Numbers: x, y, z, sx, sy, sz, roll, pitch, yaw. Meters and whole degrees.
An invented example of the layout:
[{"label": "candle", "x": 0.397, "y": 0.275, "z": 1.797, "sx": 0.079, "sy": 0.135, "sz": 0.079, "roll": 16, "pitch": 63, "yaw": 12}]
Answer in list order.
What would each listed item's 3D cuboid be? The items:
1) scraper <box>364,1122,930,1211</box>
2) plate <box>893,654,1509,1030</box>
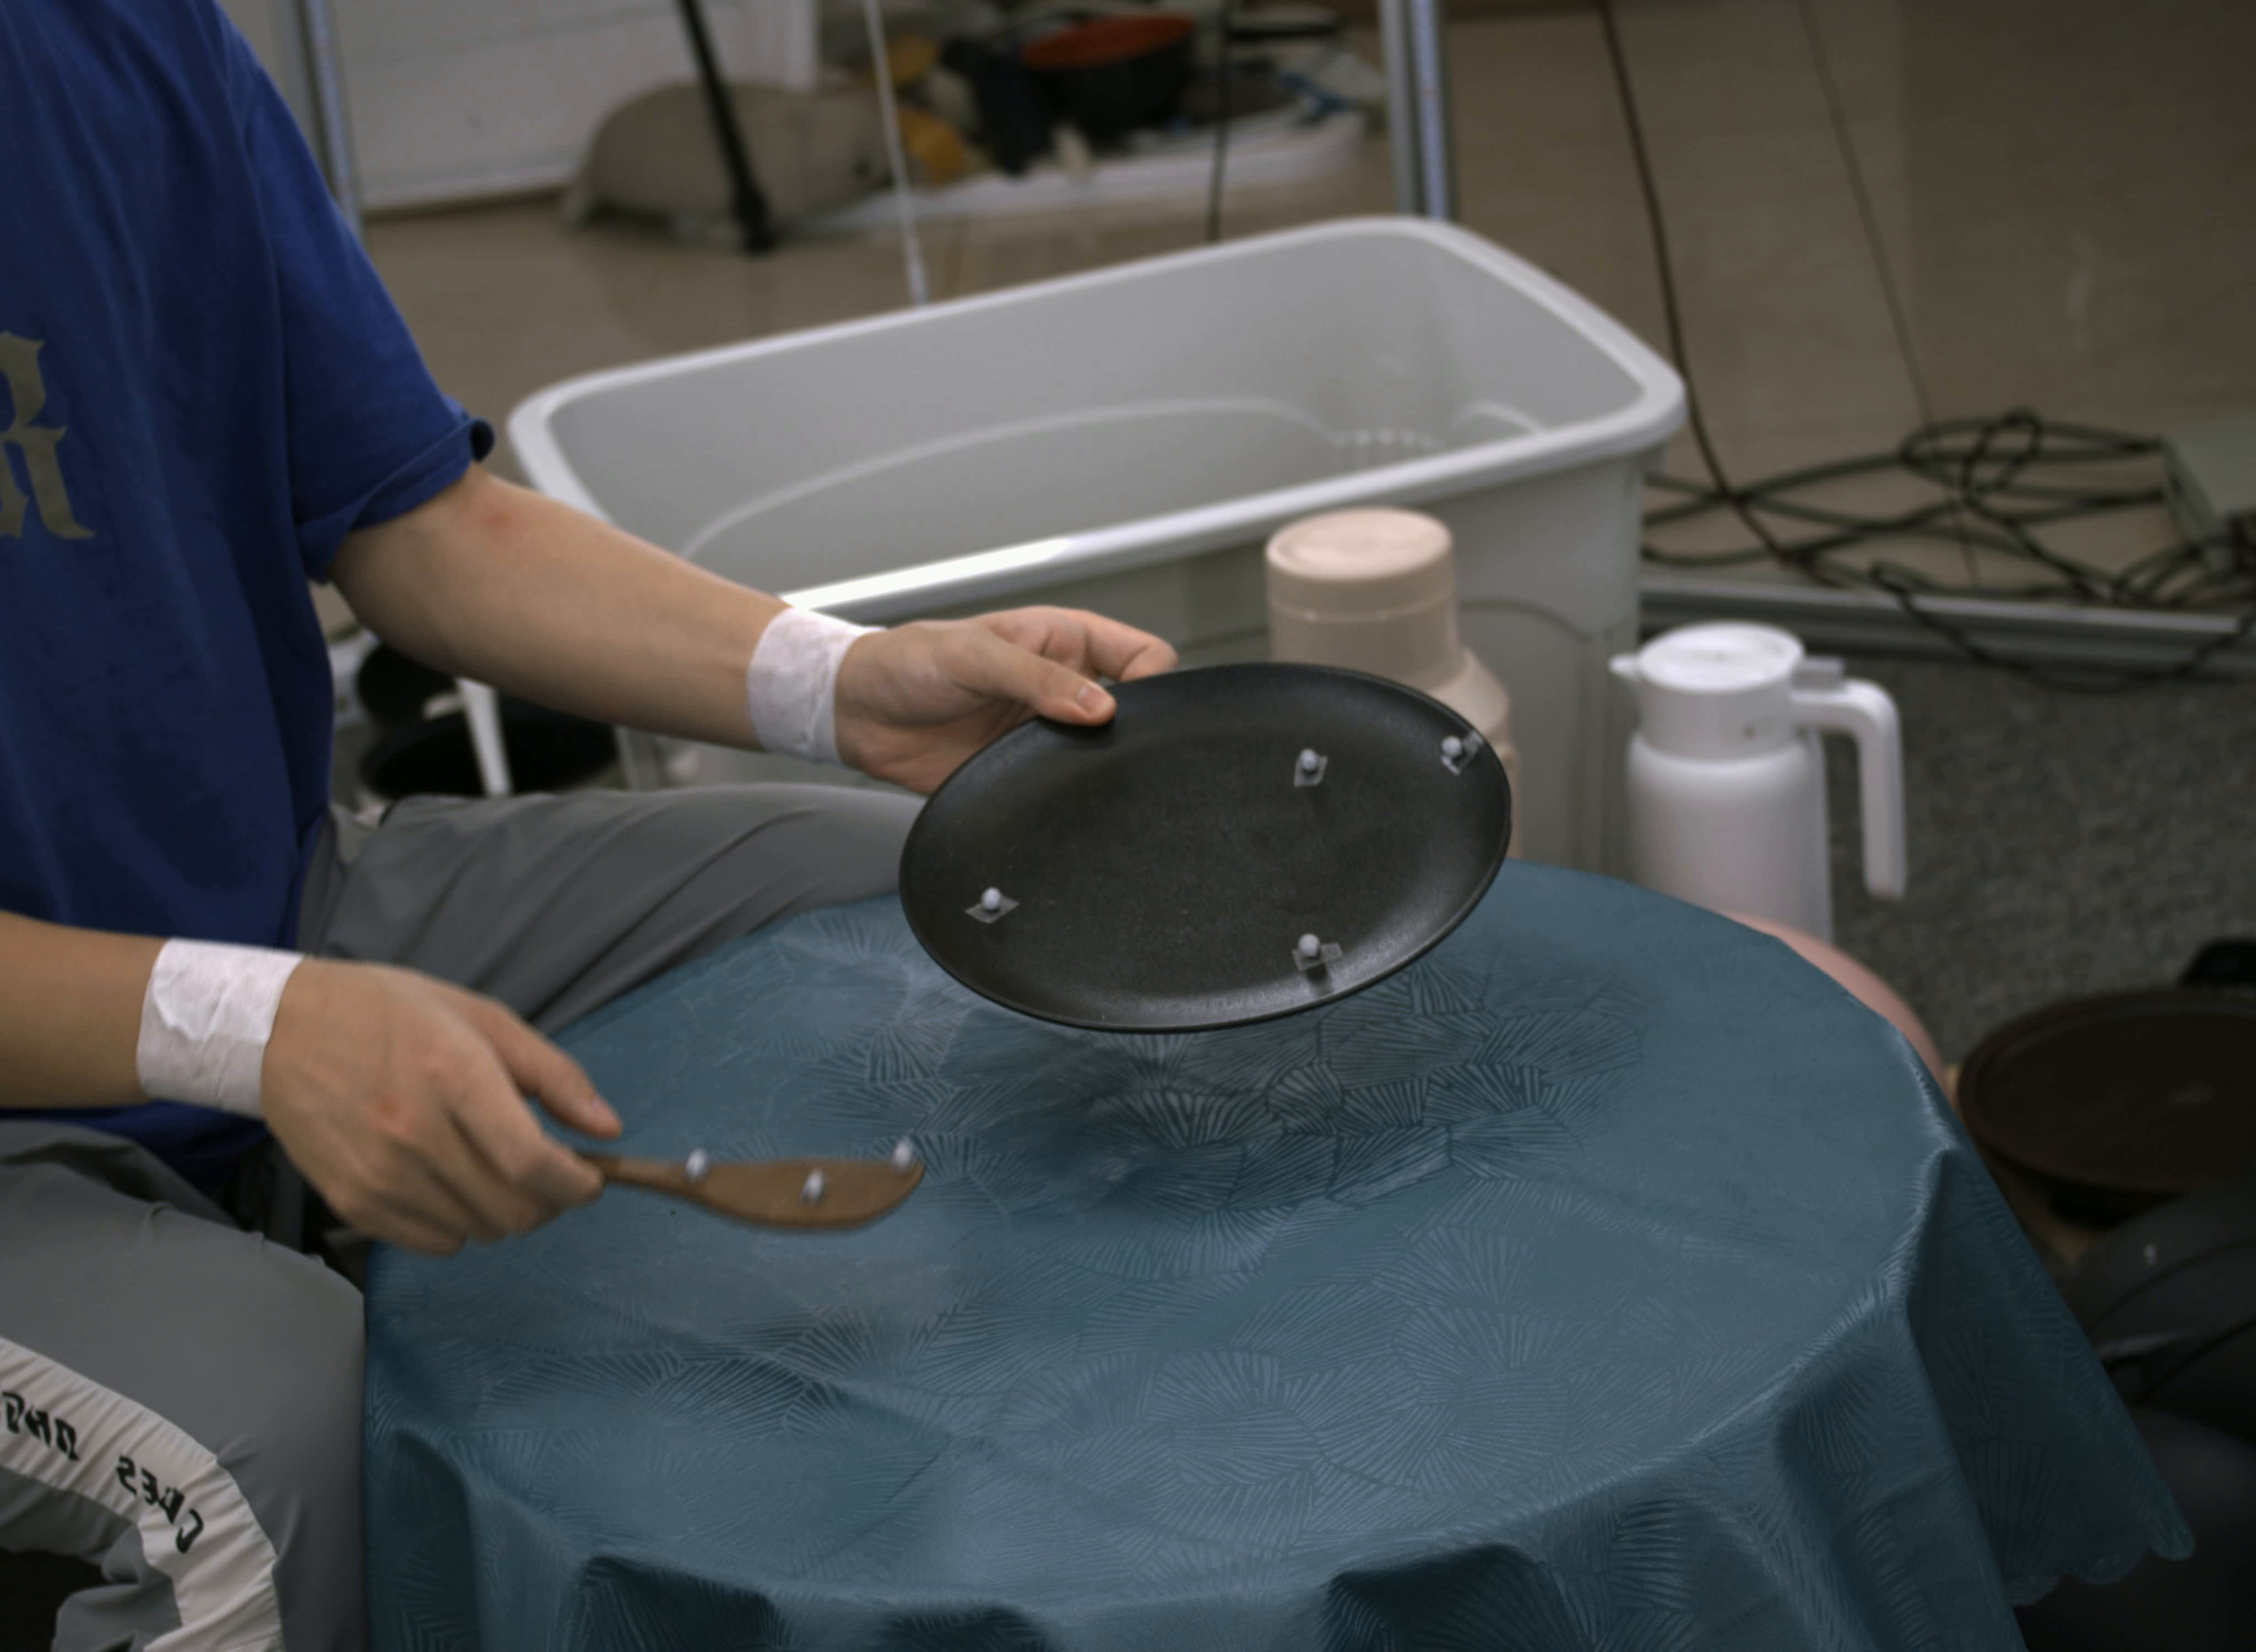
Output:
[{"label": "scraper", "x": -0.178, "y": 0.121, "z": 2.068, "sx": 0.211, "sy": 0.011, "sz": 0.075, "roll": 4, "pitch": 14, "yaw": 15}, {"label": "plate", "x": 0.029, "y": 0.011, "z": 2.218, "sx": 0.244, "sy": 0.024, "sz": 0.240, "roll": -7, "pitch": 36, "yaw": 5}]
